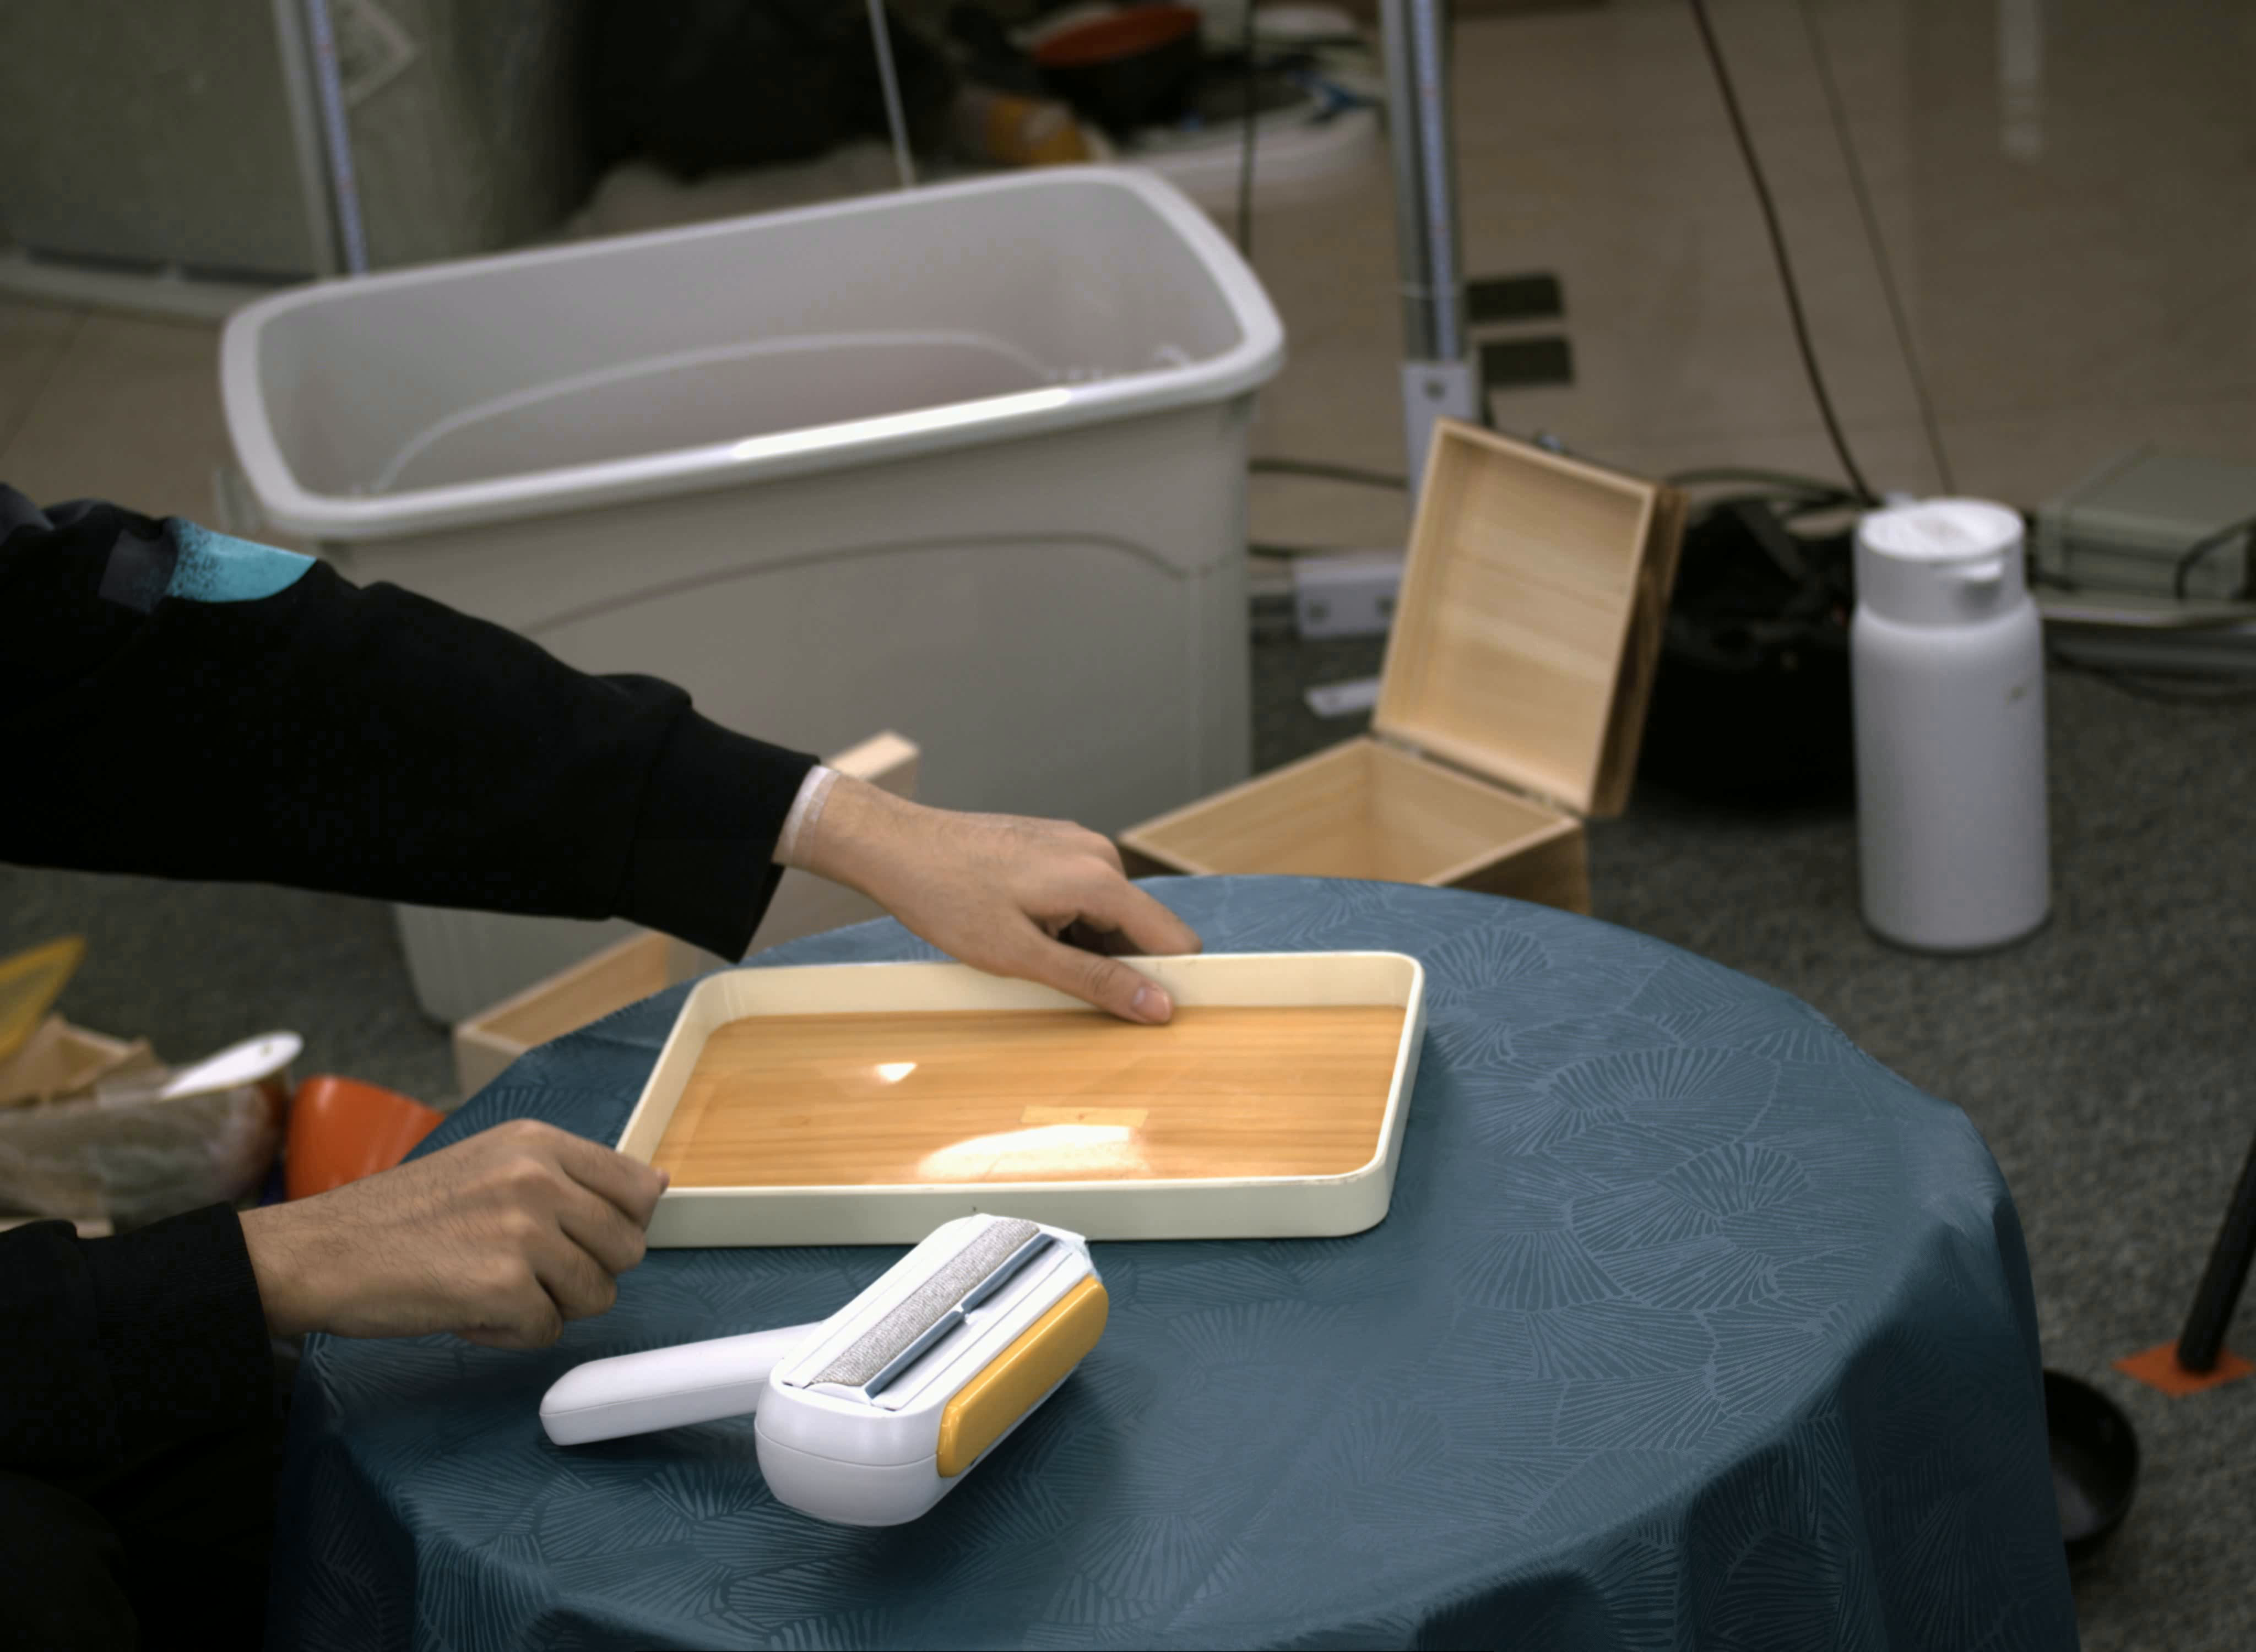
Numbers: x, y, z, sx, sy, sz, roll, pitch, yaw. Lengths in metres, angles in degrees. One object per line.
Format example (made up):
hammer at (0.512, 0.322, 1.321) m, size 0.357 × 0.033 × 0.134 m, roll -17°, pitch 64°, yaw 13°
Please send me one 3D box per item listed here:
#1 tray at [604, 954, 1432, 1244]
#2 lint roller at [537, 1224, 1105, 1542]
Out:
tray at (-0.039, 0.105, 2.195) m, size 0.300 × 0.028 × 0.189 m, roll -2°, pitch 24°, yaw 10°
lint roller at (-0.123, 0.192, 1.980) m, size 0.192 × 0.075 × 0.191 m, roll 4°, pitch 22°, yaw 25°
